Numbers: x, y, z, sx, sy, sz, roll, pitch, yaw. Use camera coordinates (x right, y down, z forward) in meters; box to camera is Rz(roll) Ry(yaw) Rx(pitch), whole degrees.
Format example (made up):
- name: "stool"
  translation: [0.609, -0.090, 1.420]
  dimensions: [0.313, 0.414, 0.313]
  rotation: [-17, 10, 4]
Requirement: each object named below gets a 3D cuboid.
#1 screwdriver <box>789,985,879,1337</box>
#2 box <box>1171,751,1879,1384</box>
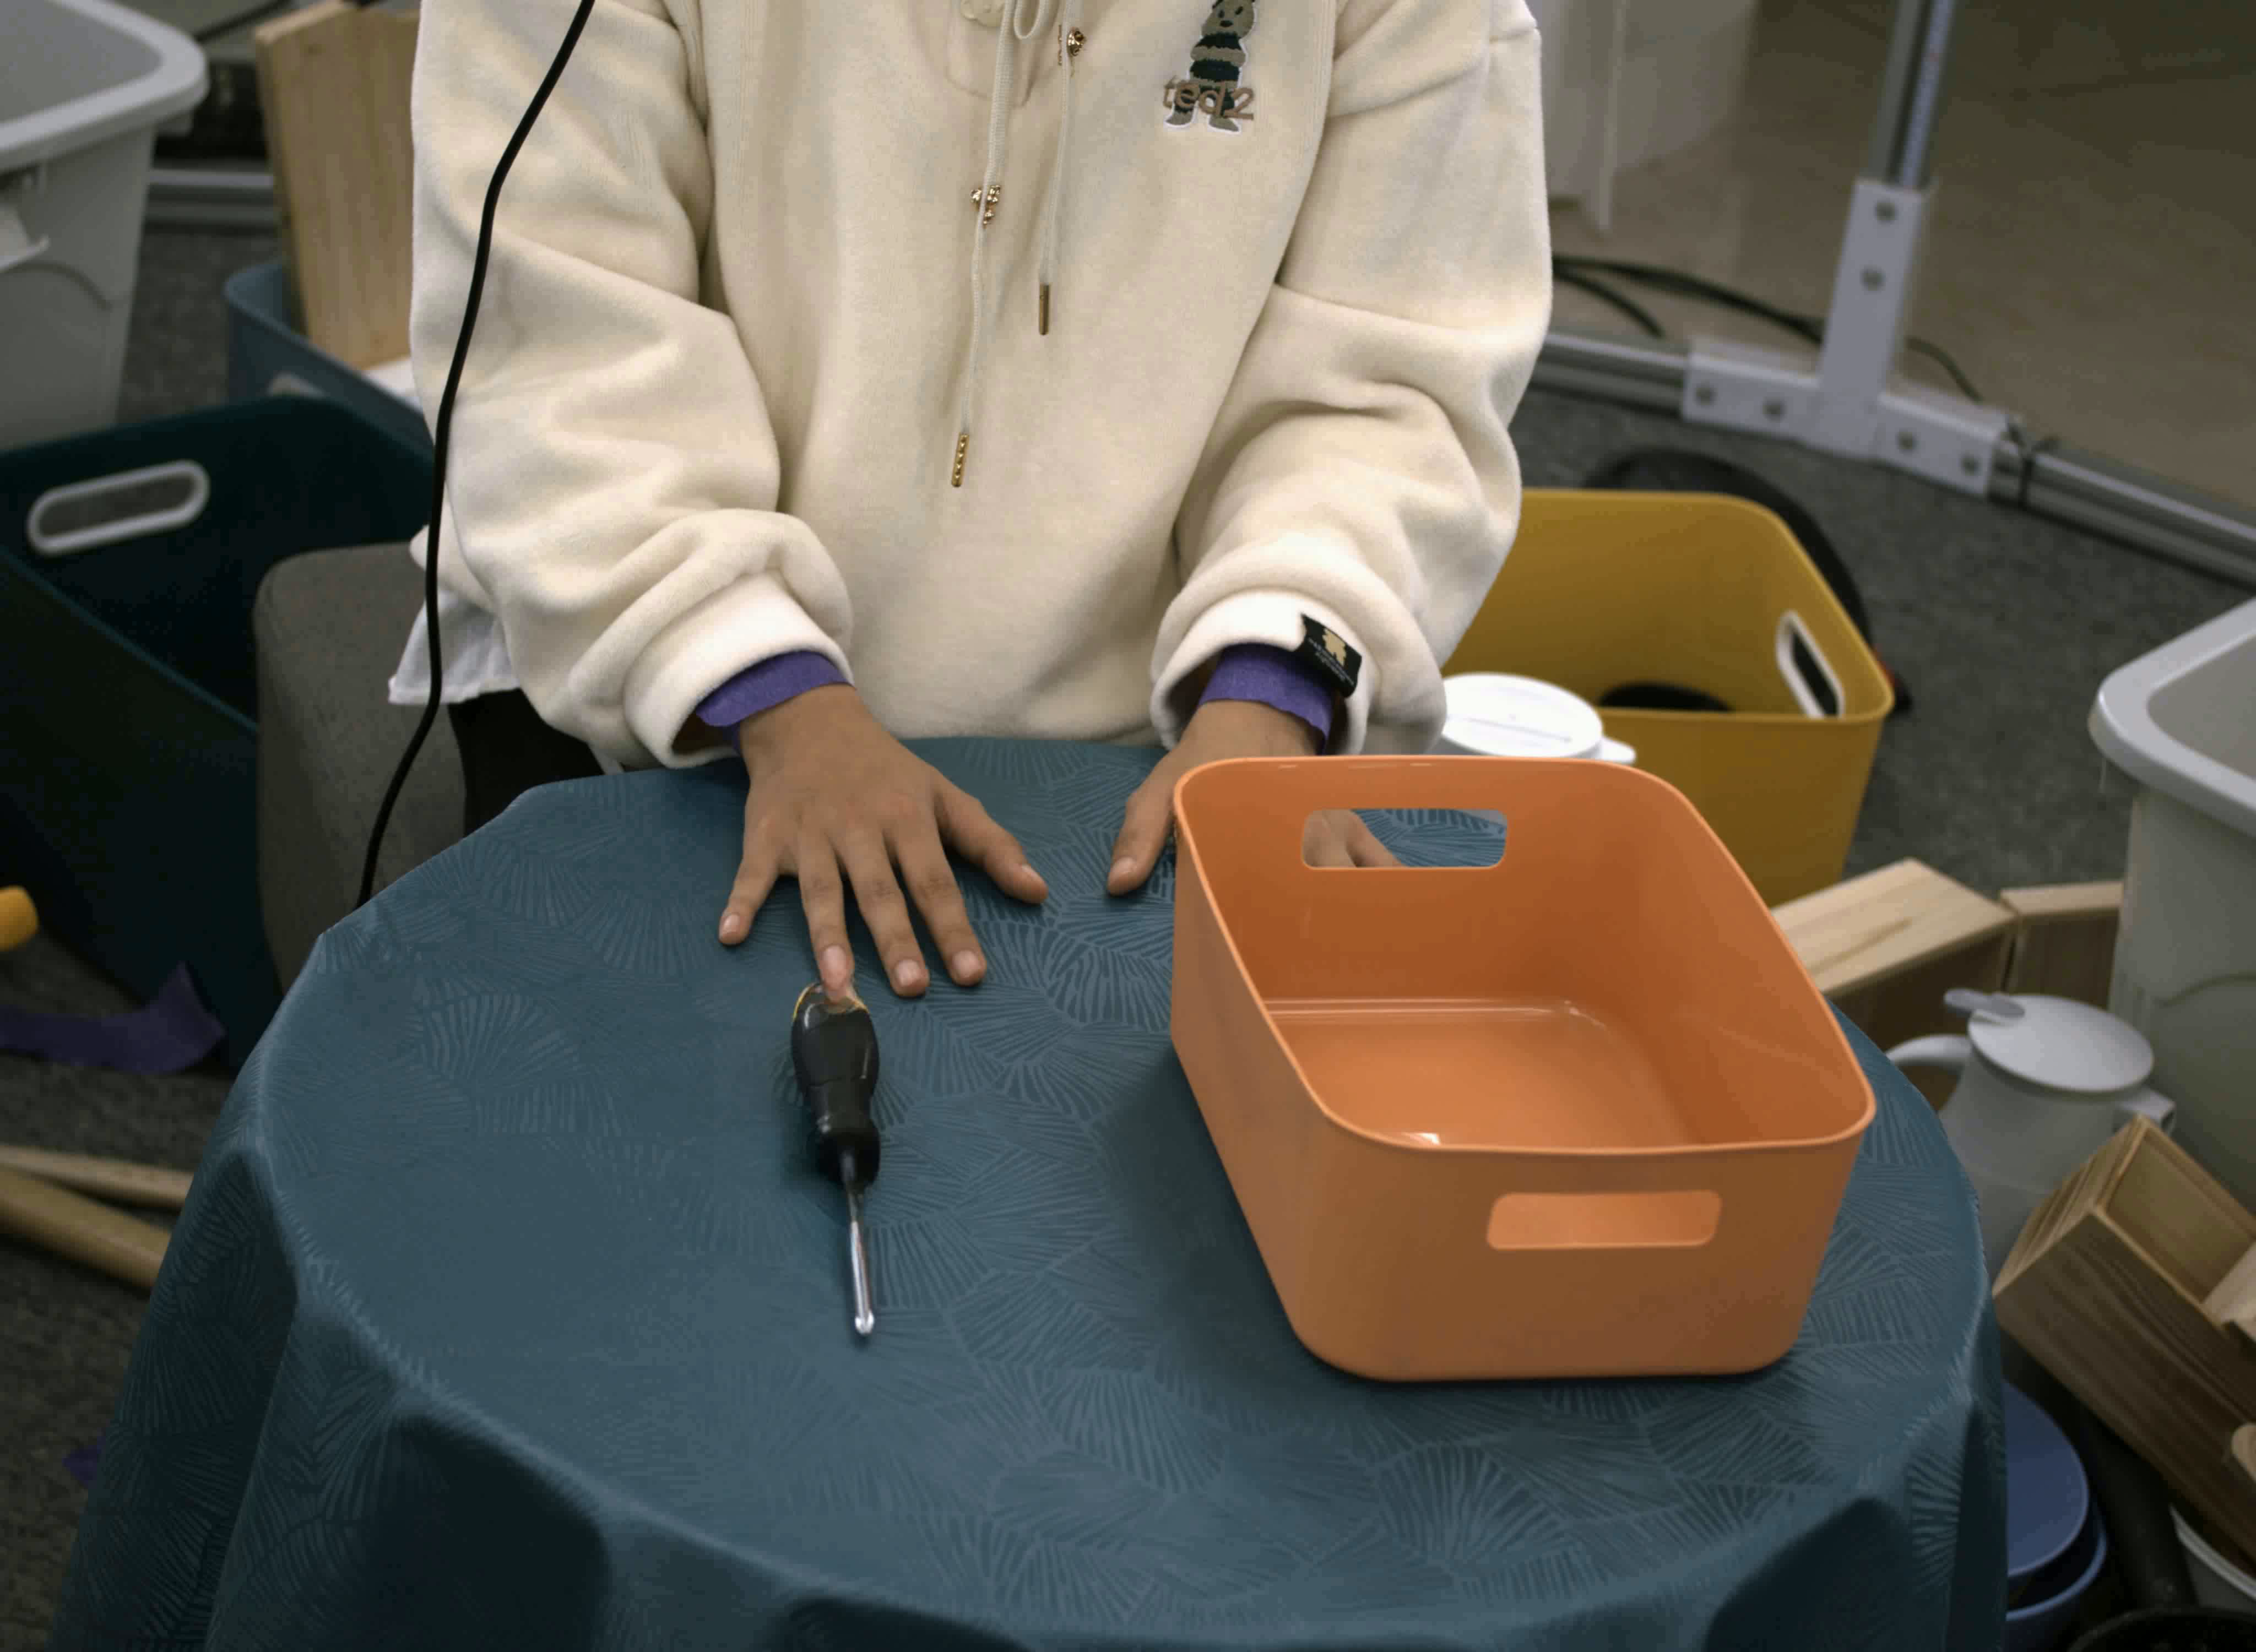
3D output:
- name: "screwdriver"
  translation: [-0.098, 0.114, 1.780]
  dimensions: [0.031, 0.031, 0.198]
  rotation: [4, 32, -6]
- name: "box"
  translation: [0.124, 0.081, 1.799]
  dimensions: [0.198, 0.102, 0.275]
  rotation: [-1, 28, -13]
